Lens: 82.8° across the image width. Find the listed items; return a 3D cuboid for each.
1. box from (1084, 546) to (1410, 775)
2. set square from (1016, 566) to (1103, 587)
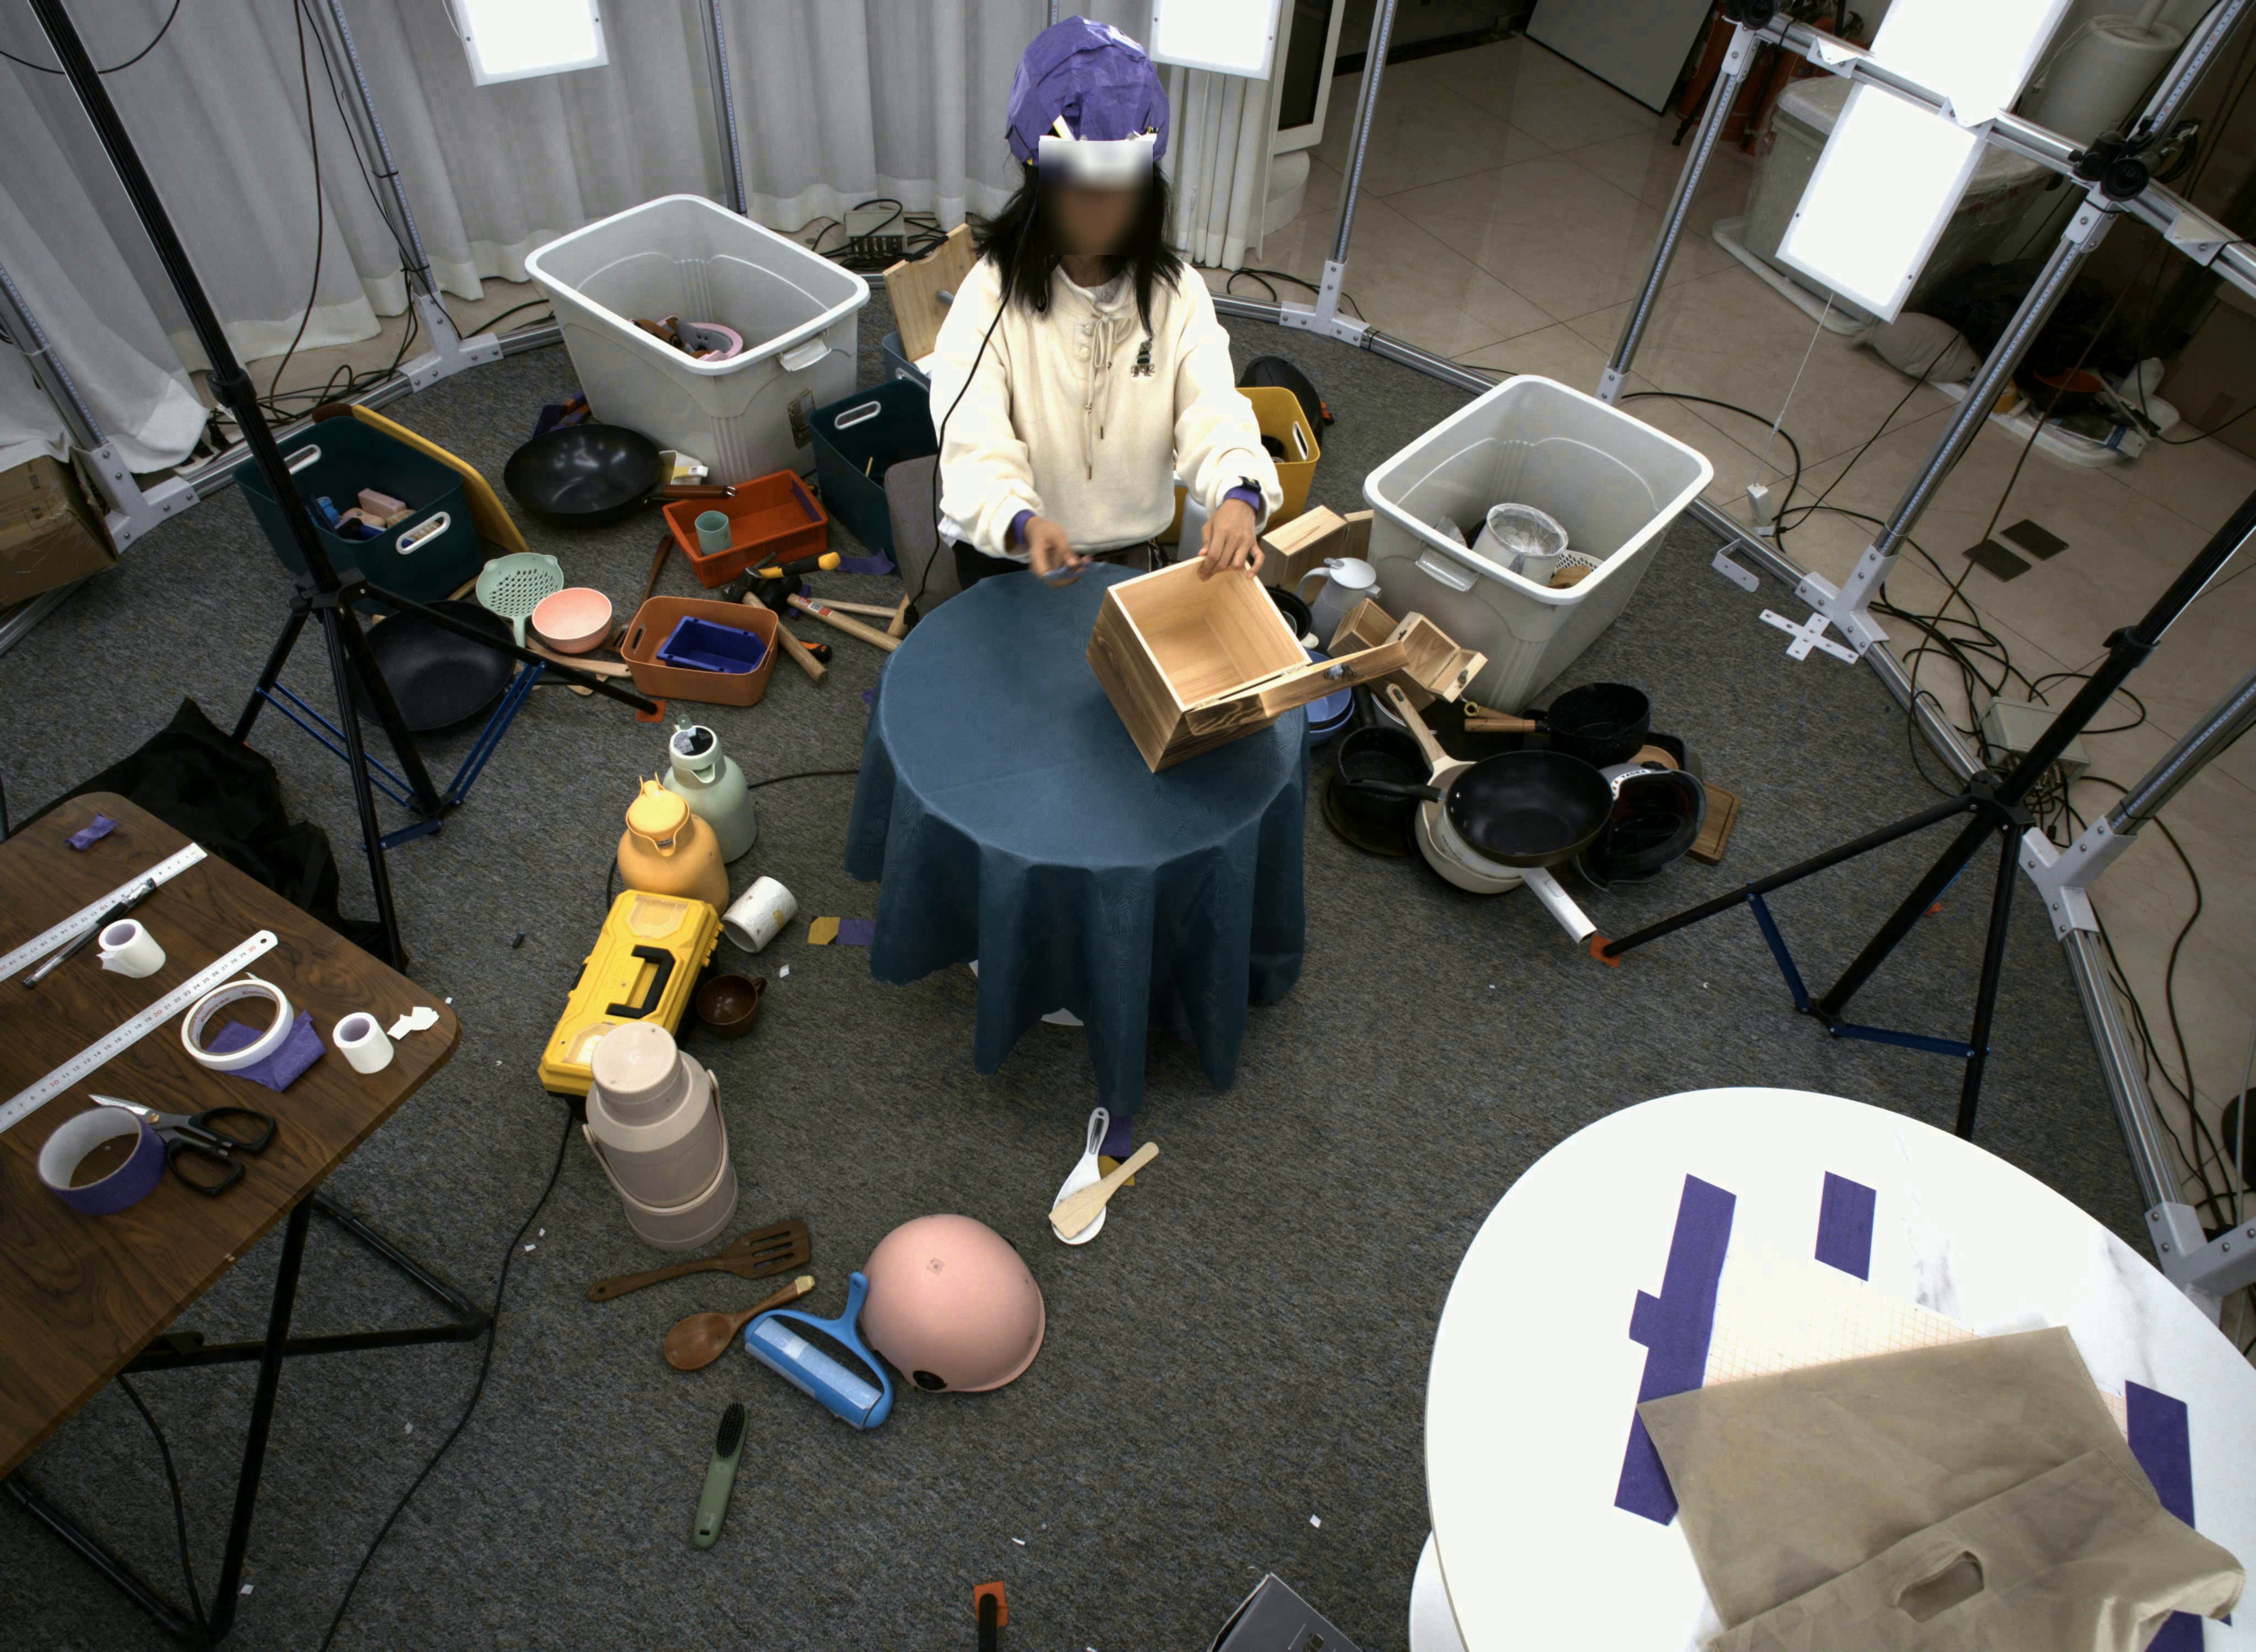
[{"bbox_3d":[0.134,-0.221,1.633,0.209,0.369,0.327,-22,71,-22],"label":"box"},{"bbox_3d":[-0.103,-0.338,1.727,0.132,0.006,0.062,-16,33,-33],"label":"set square"}]
